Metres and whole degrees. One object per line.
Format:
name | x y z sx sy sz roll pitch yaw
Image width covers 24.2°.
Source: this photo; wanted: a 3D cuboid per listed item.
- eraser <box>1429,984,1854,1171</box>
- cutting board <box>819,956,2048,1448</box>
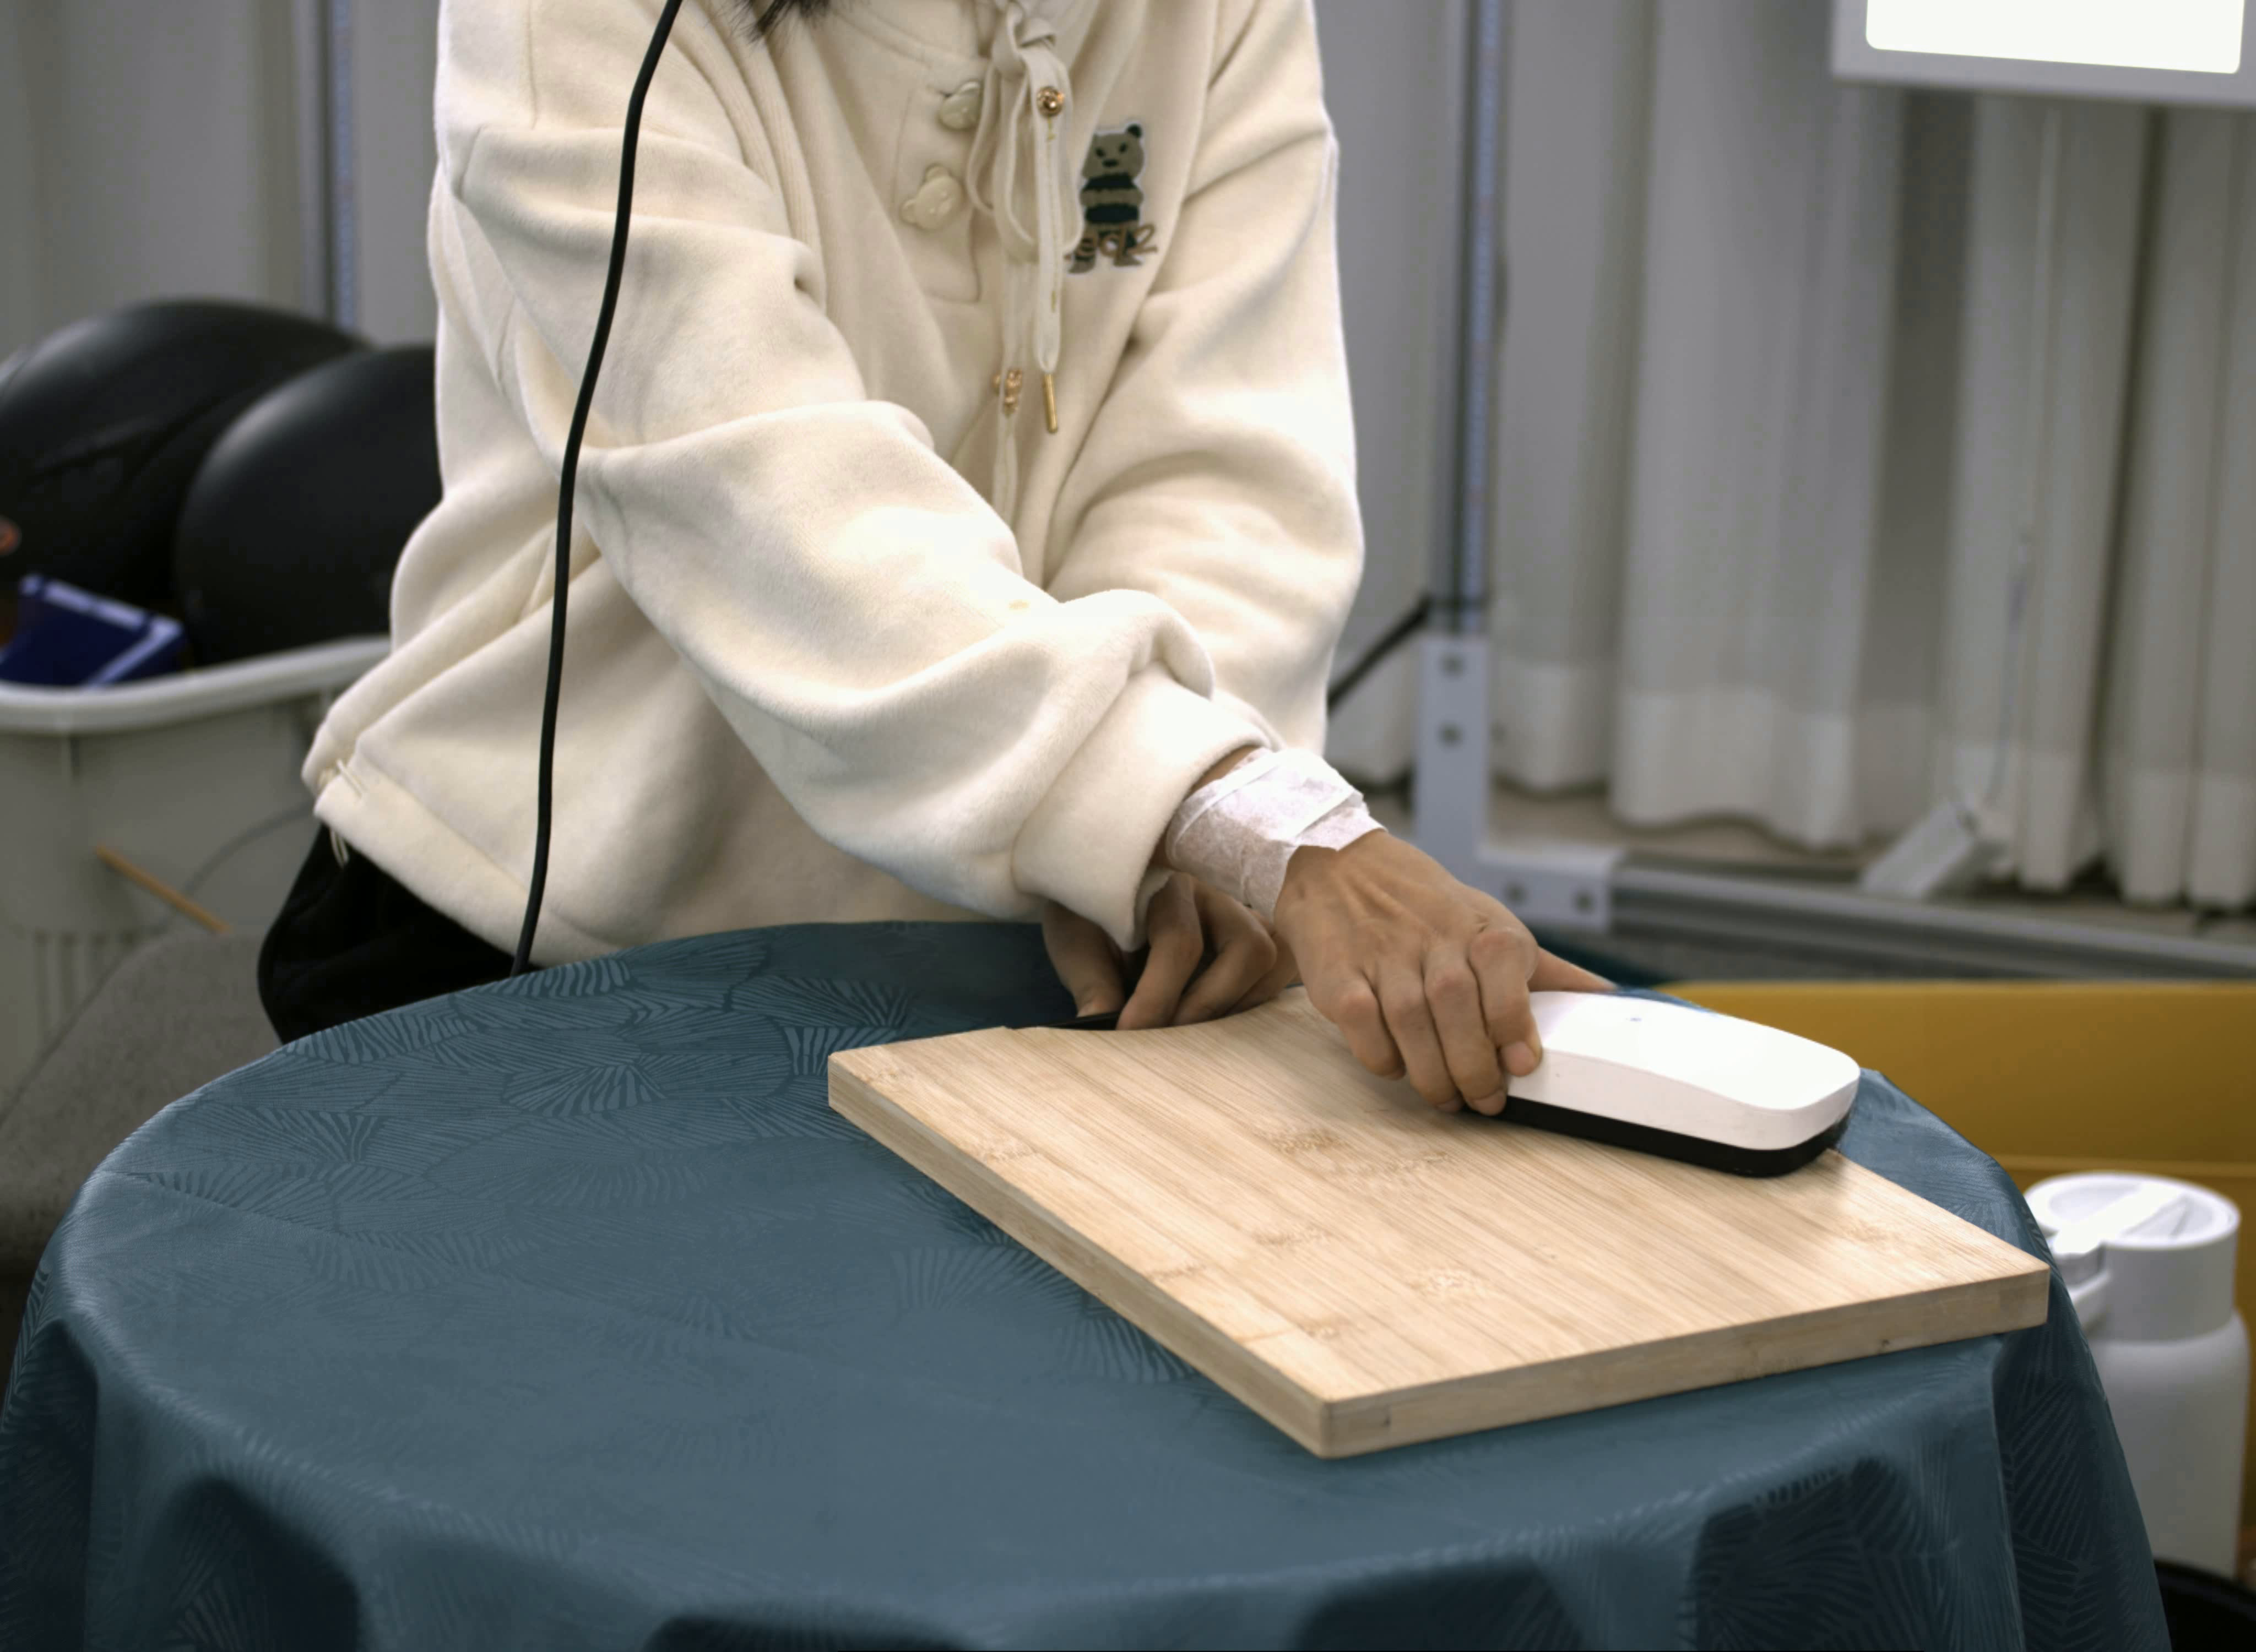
eraser | 0.159 0.076 1.632 0.129 0.035 0.063 13 20 35
cutting board | 0.082 0.108 1.611 0.252 0.024 0.344 -7 17 -27
